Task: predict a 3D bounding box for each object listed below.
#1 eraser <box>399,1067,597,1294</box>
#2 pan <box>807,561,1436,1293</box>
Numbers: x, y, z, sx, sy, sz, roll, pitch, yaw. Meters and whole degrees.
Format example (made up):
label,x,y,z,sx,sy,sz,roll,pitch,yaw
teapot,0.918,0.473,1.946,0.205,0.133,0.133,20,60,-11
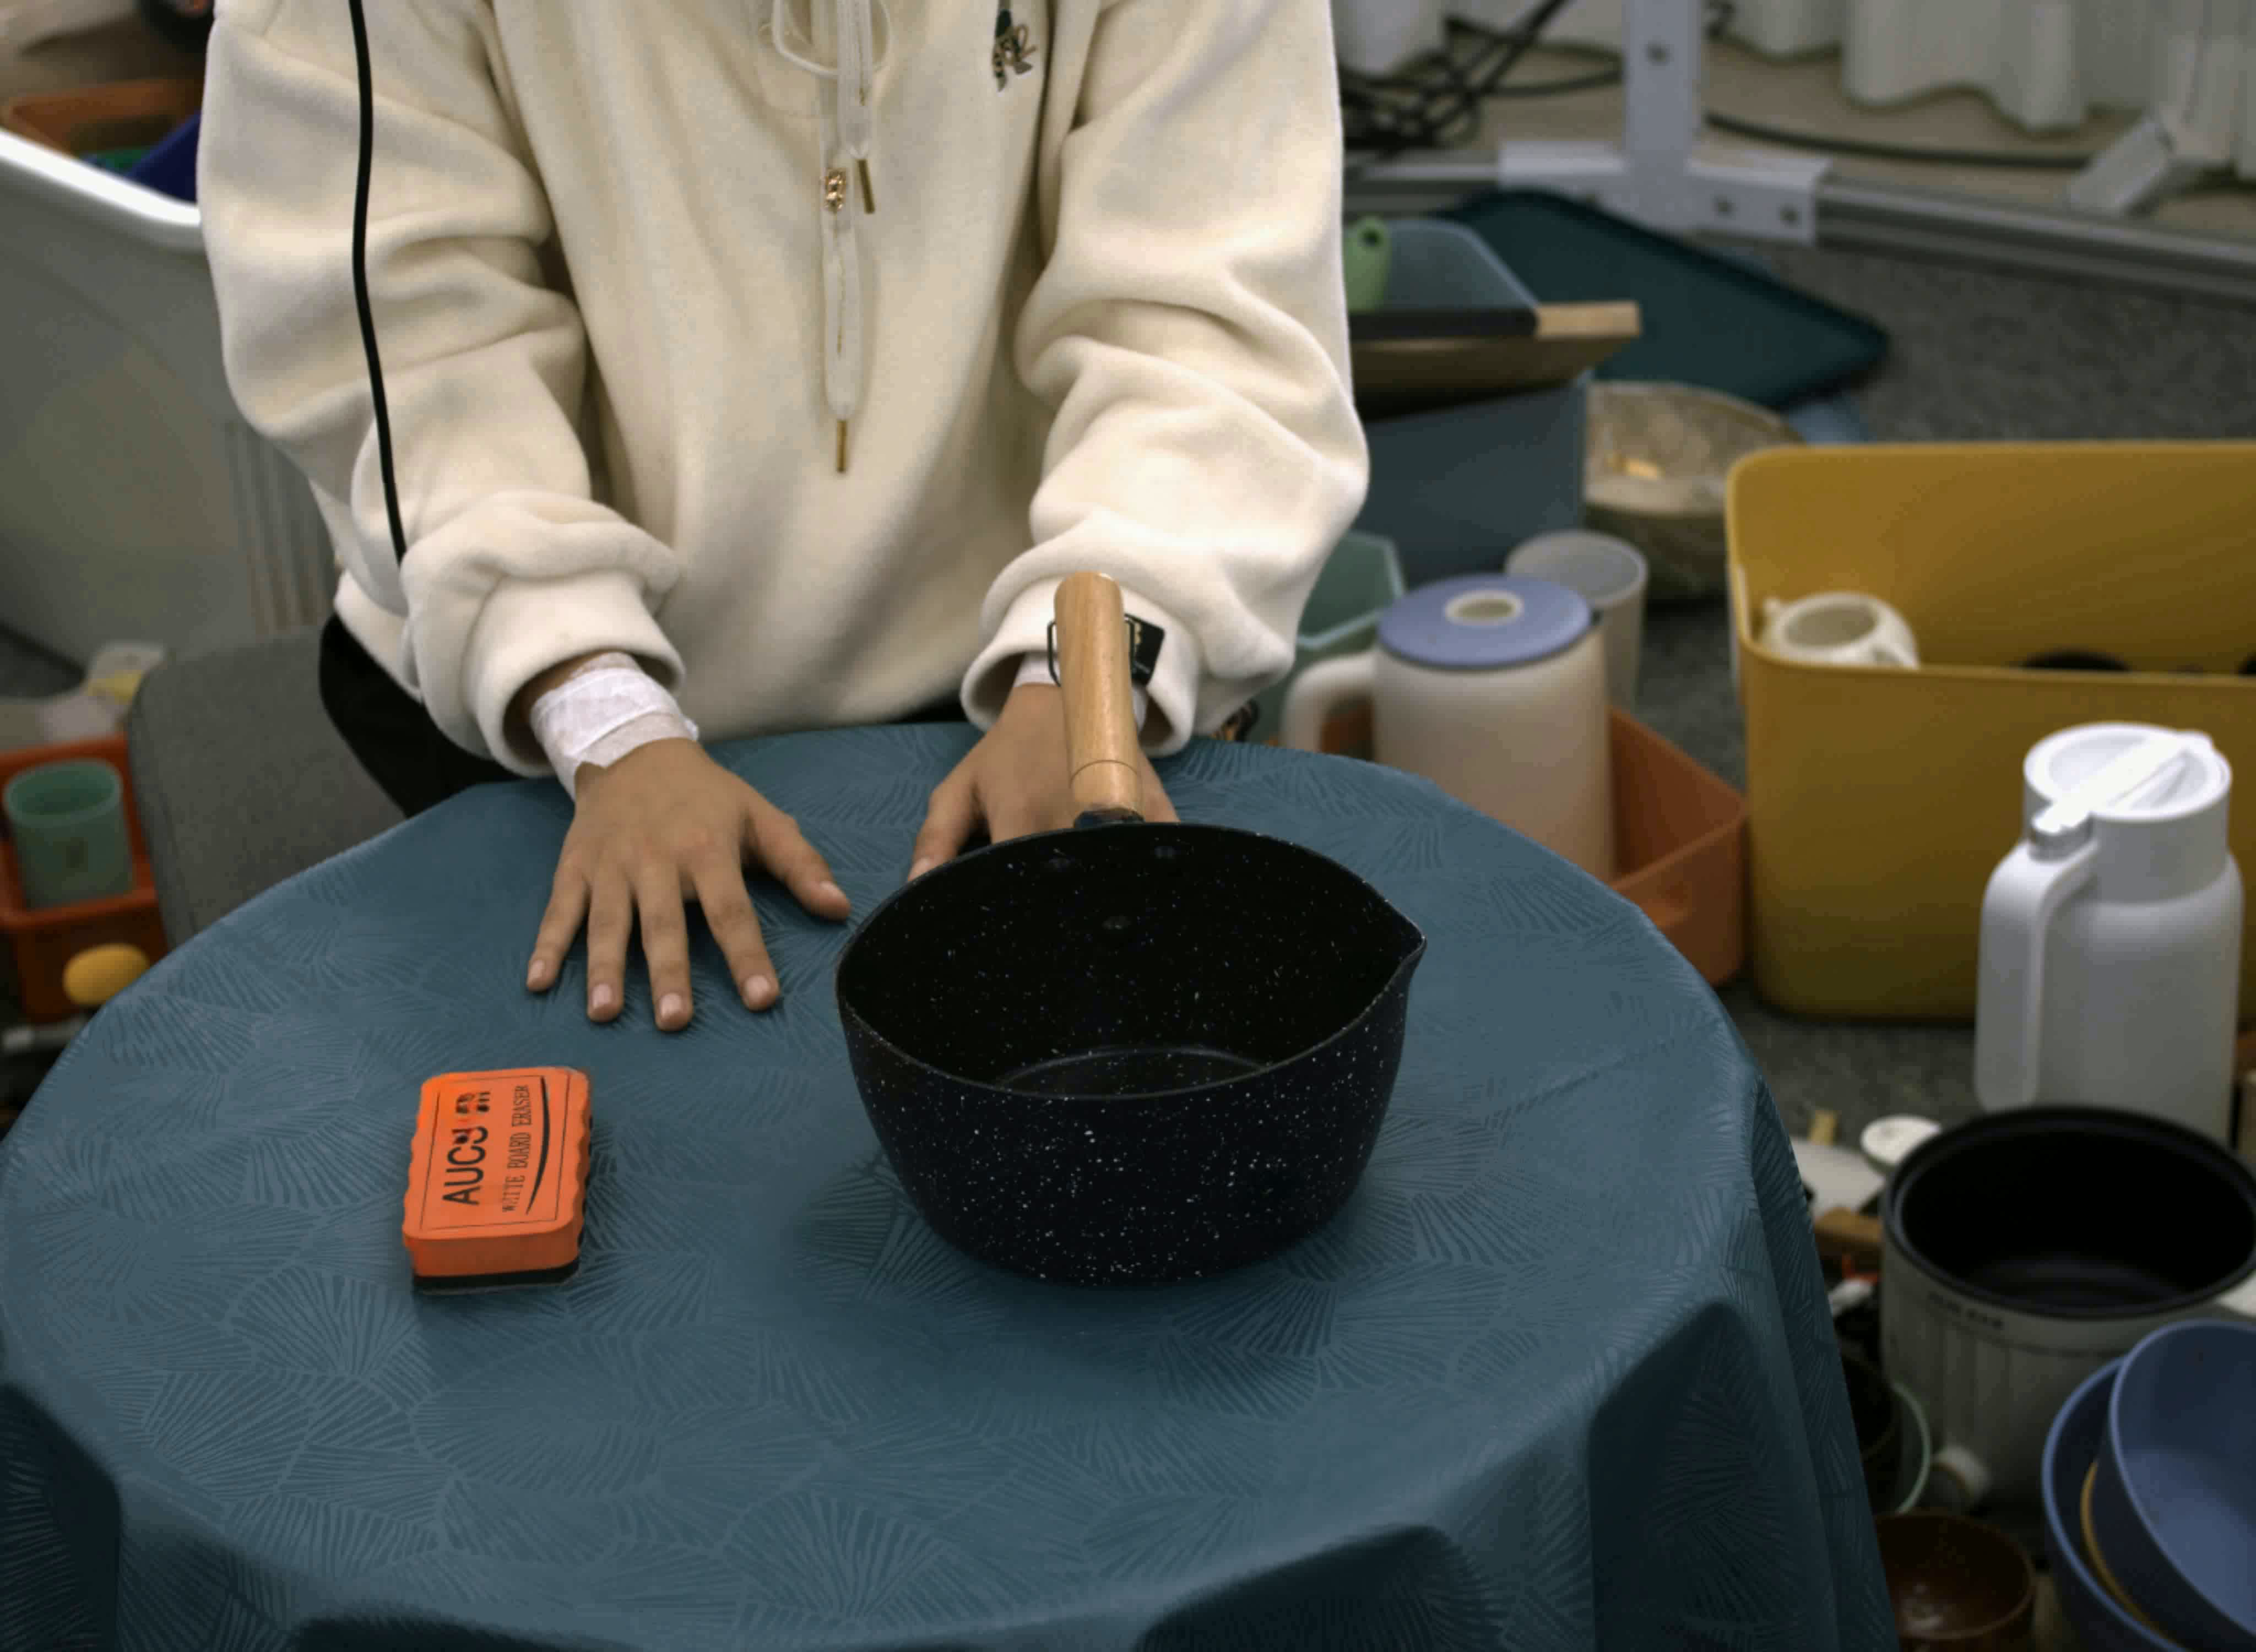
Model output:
label,x,y,z,sx,sy,sz,roll,pitch,yaw
eraser,-0.209,0.117,1.864,0.059,0.022,0.109,-3,27,0
pan,-0.006,0.031,1.921,0.207,0.107,0.348,-5,29,-2
